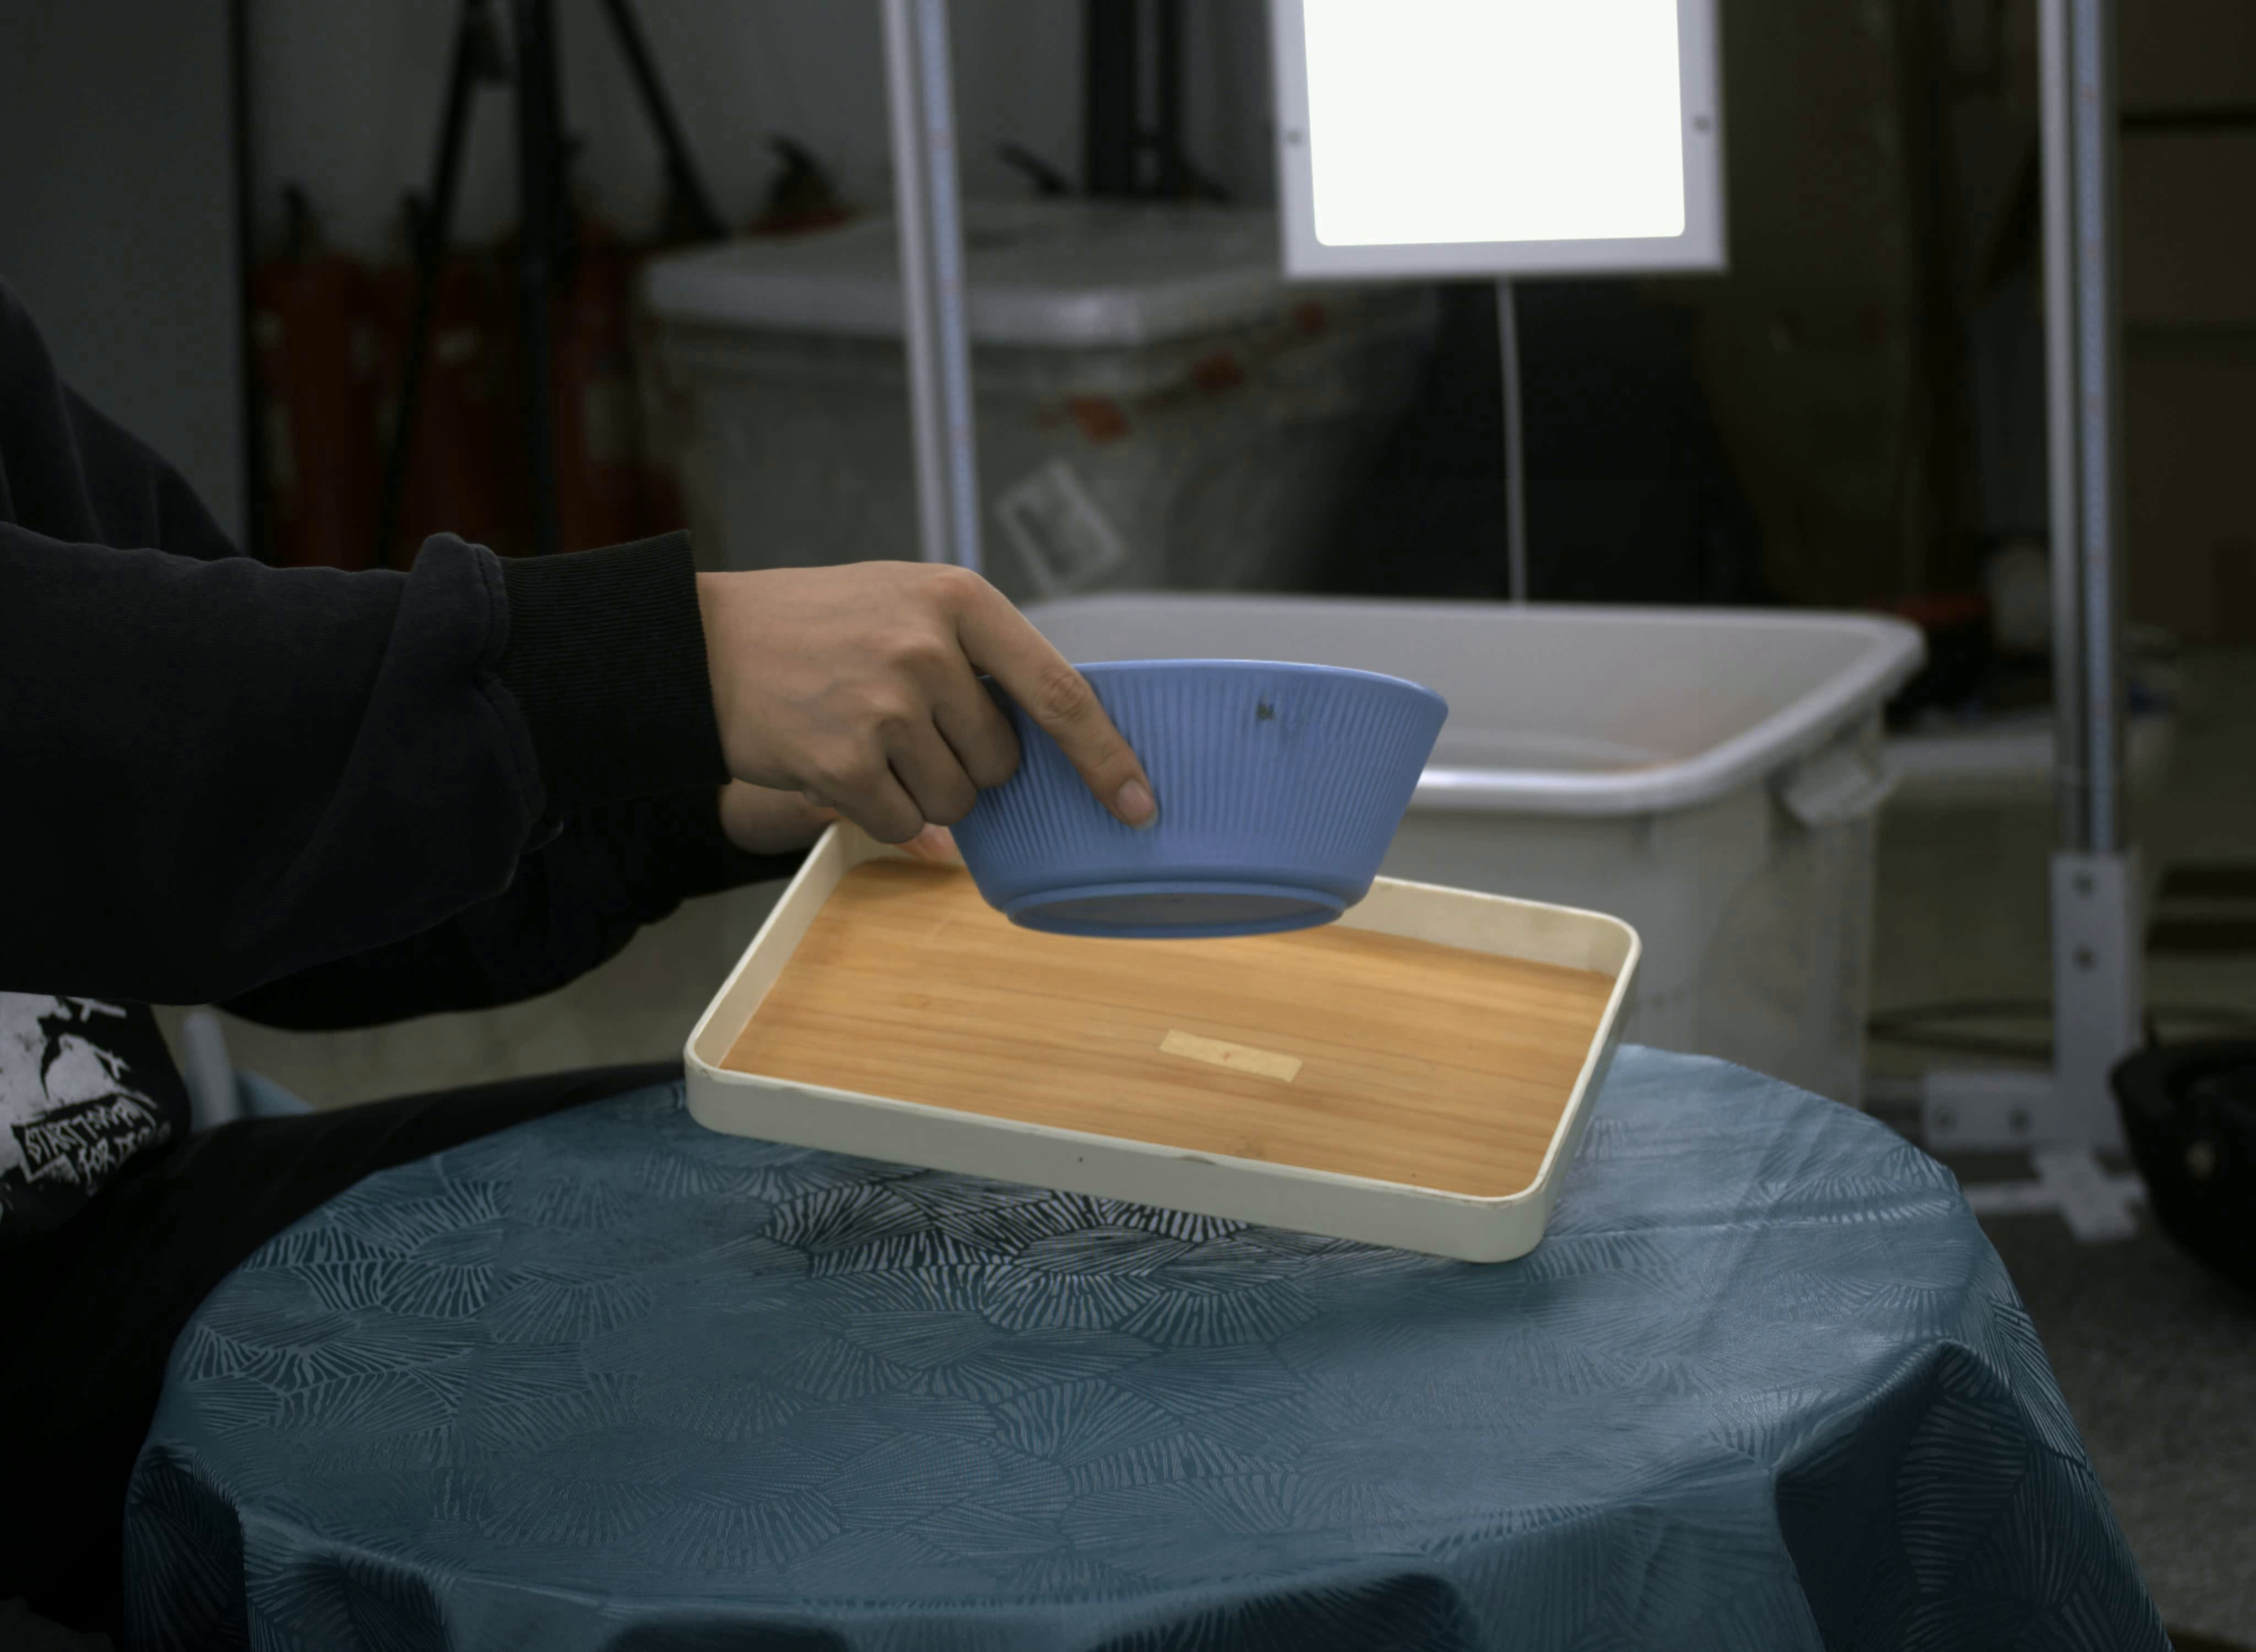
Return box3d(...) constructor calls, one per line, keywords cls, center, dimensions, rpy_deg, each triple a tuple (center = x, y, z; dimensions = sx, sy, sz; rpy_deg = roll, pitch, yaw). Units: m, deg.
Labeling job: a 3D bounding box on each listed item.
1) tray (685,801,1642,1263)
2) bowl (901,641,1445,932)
box3d(cls="tray", center=(0.015, 0.067, 1.897), dimensions=(0.303, 0.027, 0.188), rpy_deg=(9, 32, 16))
box3d(cls="bowl", center=(0.014, -0.008, 1.754), dimensions=(0.175, 0.070, 0.176), rpy_deg=(1, -9, -1))
